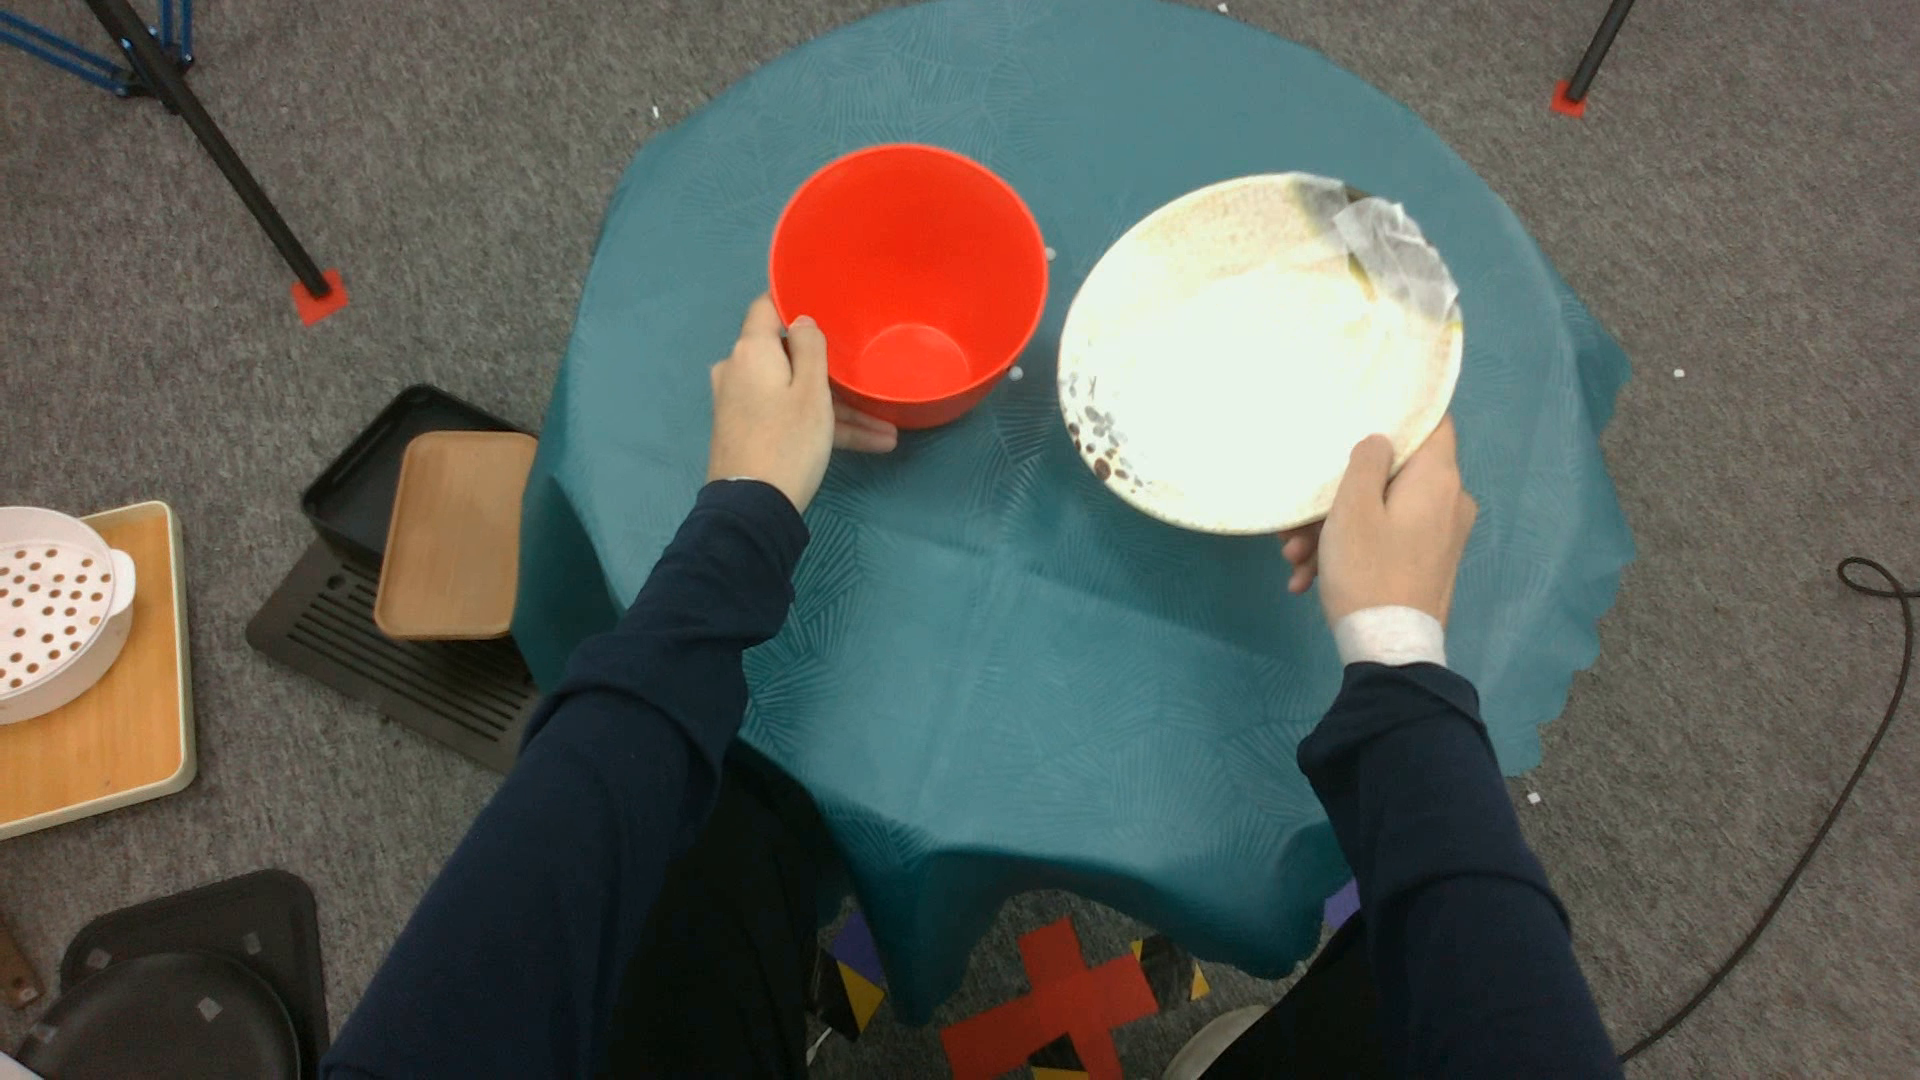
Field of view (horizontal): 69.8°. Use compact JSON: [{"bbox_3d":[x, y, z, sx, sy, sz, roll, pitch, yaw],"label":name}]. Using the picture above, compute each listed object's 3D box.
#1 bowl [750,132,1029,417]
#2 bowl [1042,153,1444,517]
[{"bbox_3d":[-0.039,-0.133,0.765,0.148,0.104,0.148,1,66,-3],"label":"bowl"},{"bbox_3d":[0.151,-0.097,0.732,0.203,0.078,0.204,-7,70,19],"label":"bowl"}]
